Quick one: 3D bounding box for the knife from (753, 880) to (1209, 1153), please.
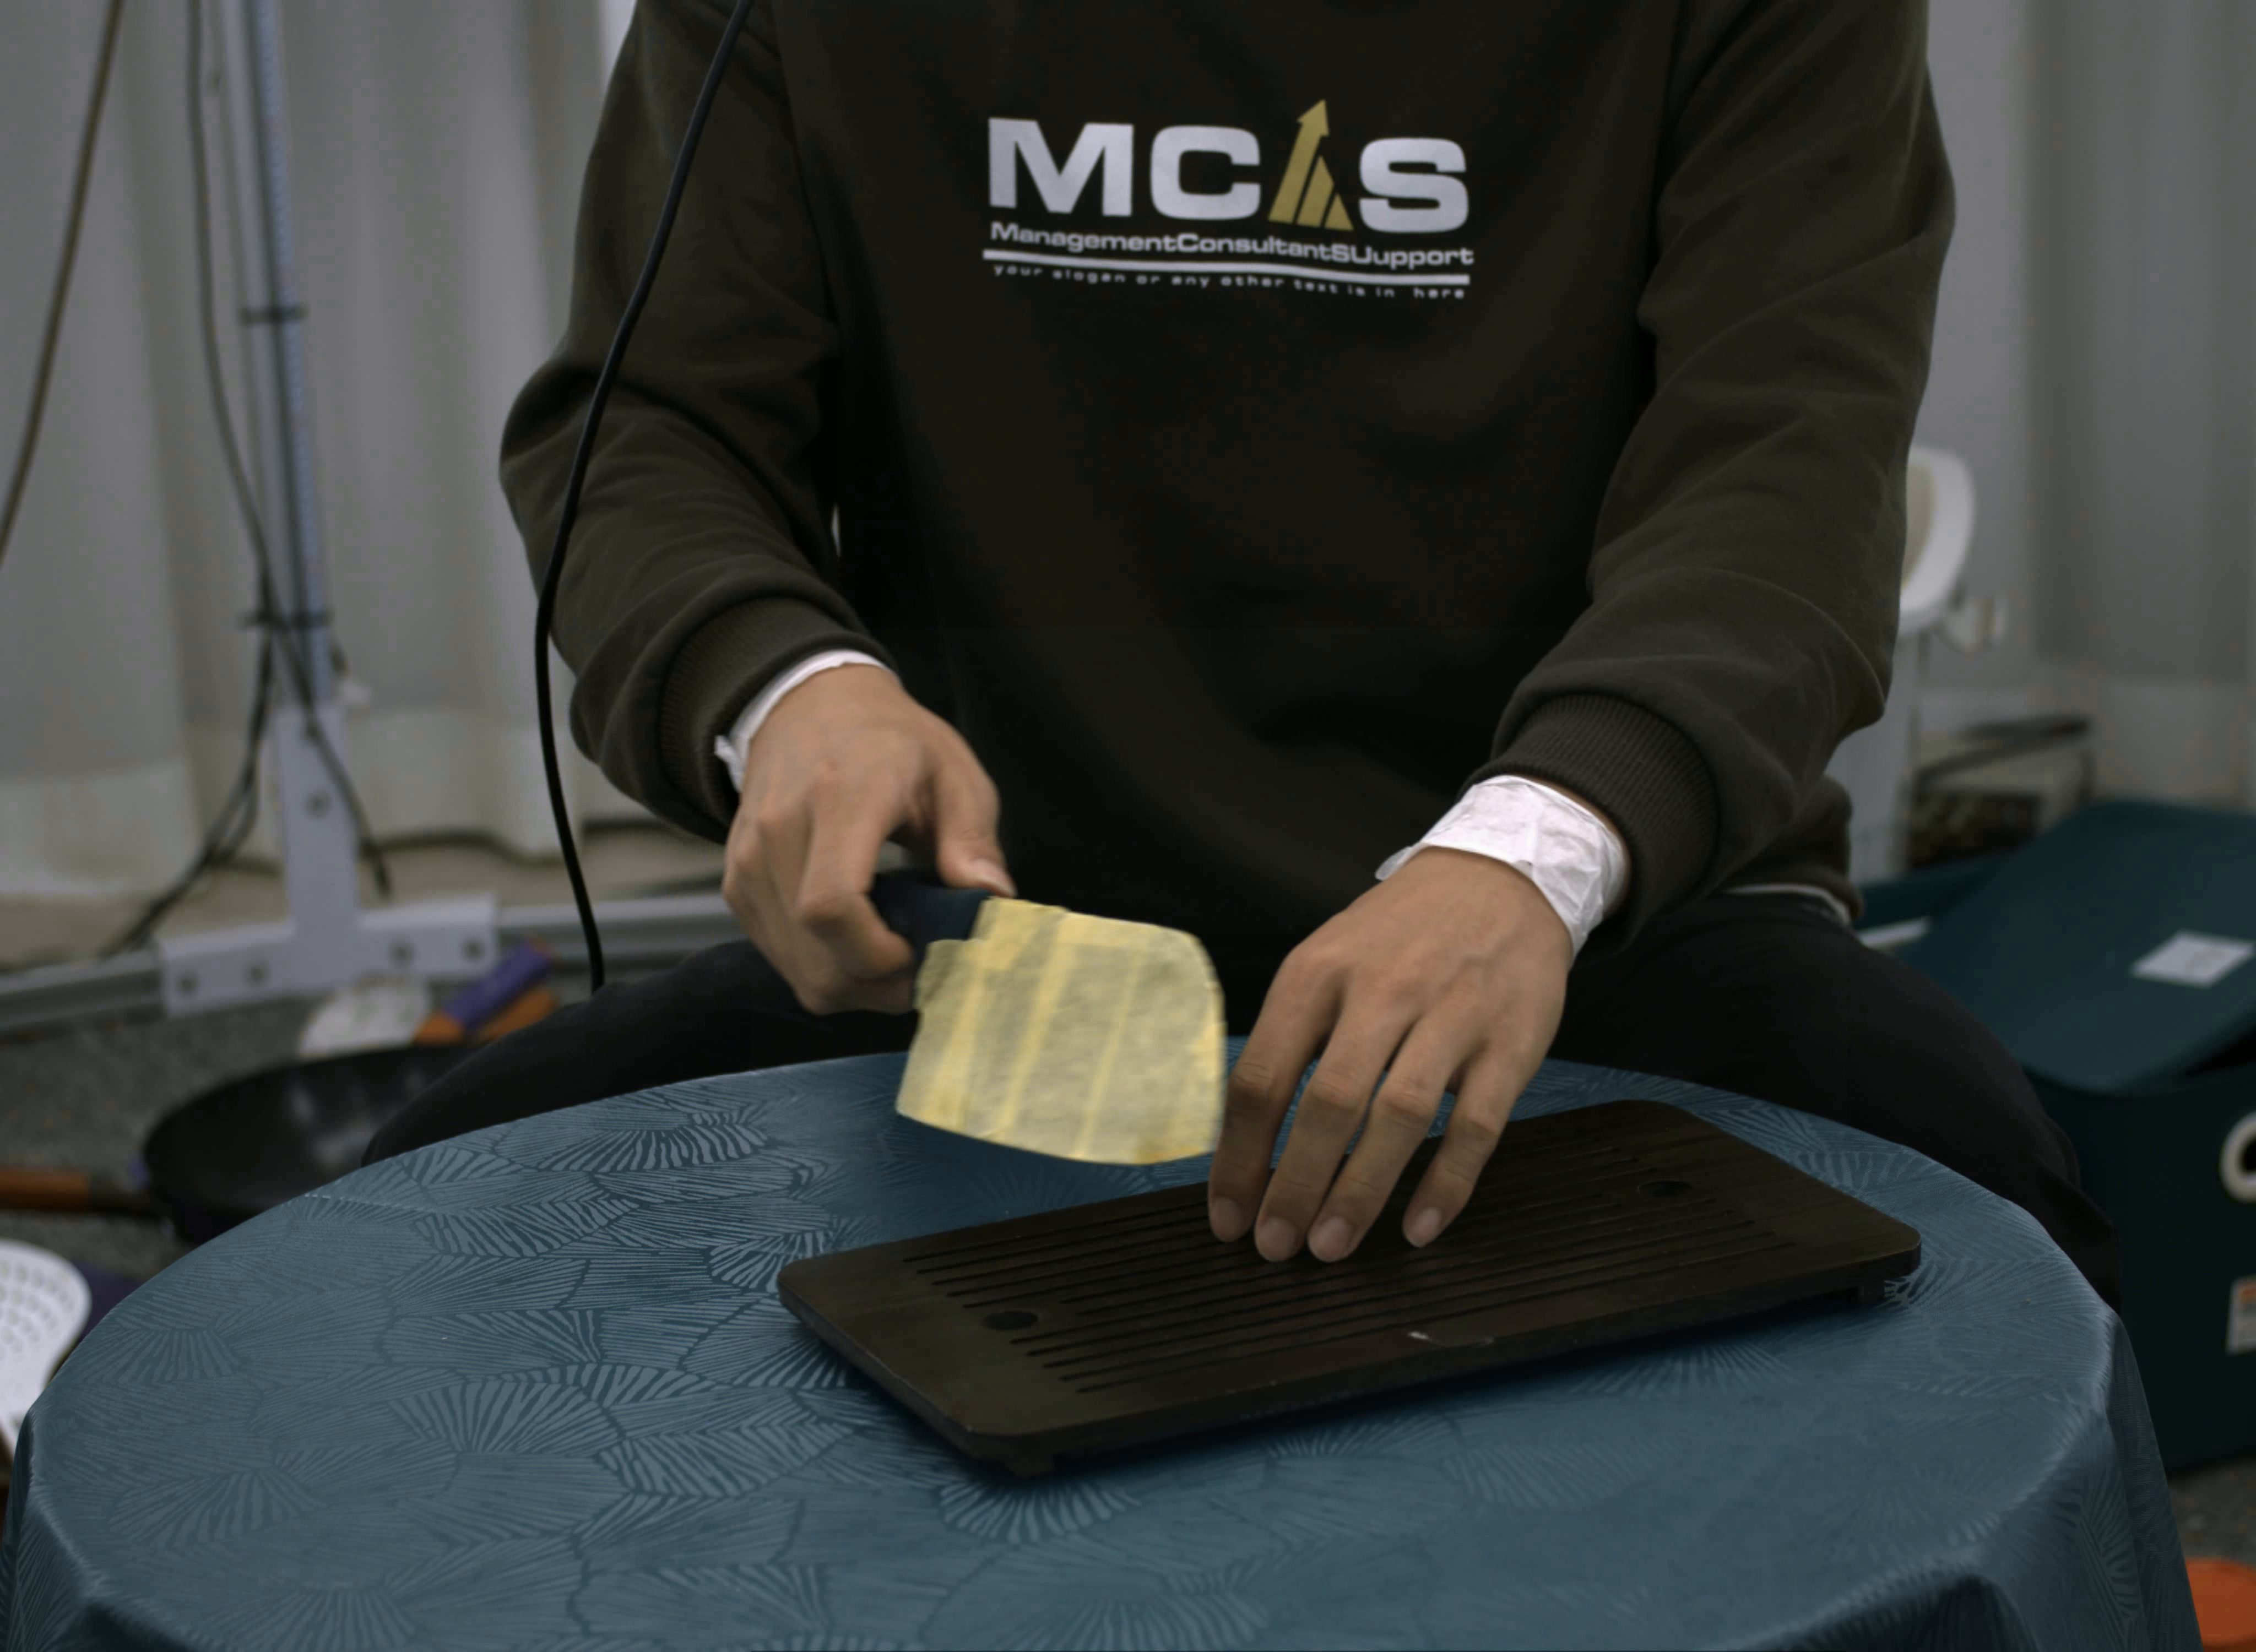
[{"bbox_3d":[-0.049,0.055,1.658,0.027,0.081,0.291,24,-6,-29],"label":"knife"}]

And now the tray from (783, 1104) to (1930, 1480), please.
[{"bbox_3d":[0.066,0.134,1.598,0.304,0.018,0.171,-9,15,-23],"label":"tray"}]
